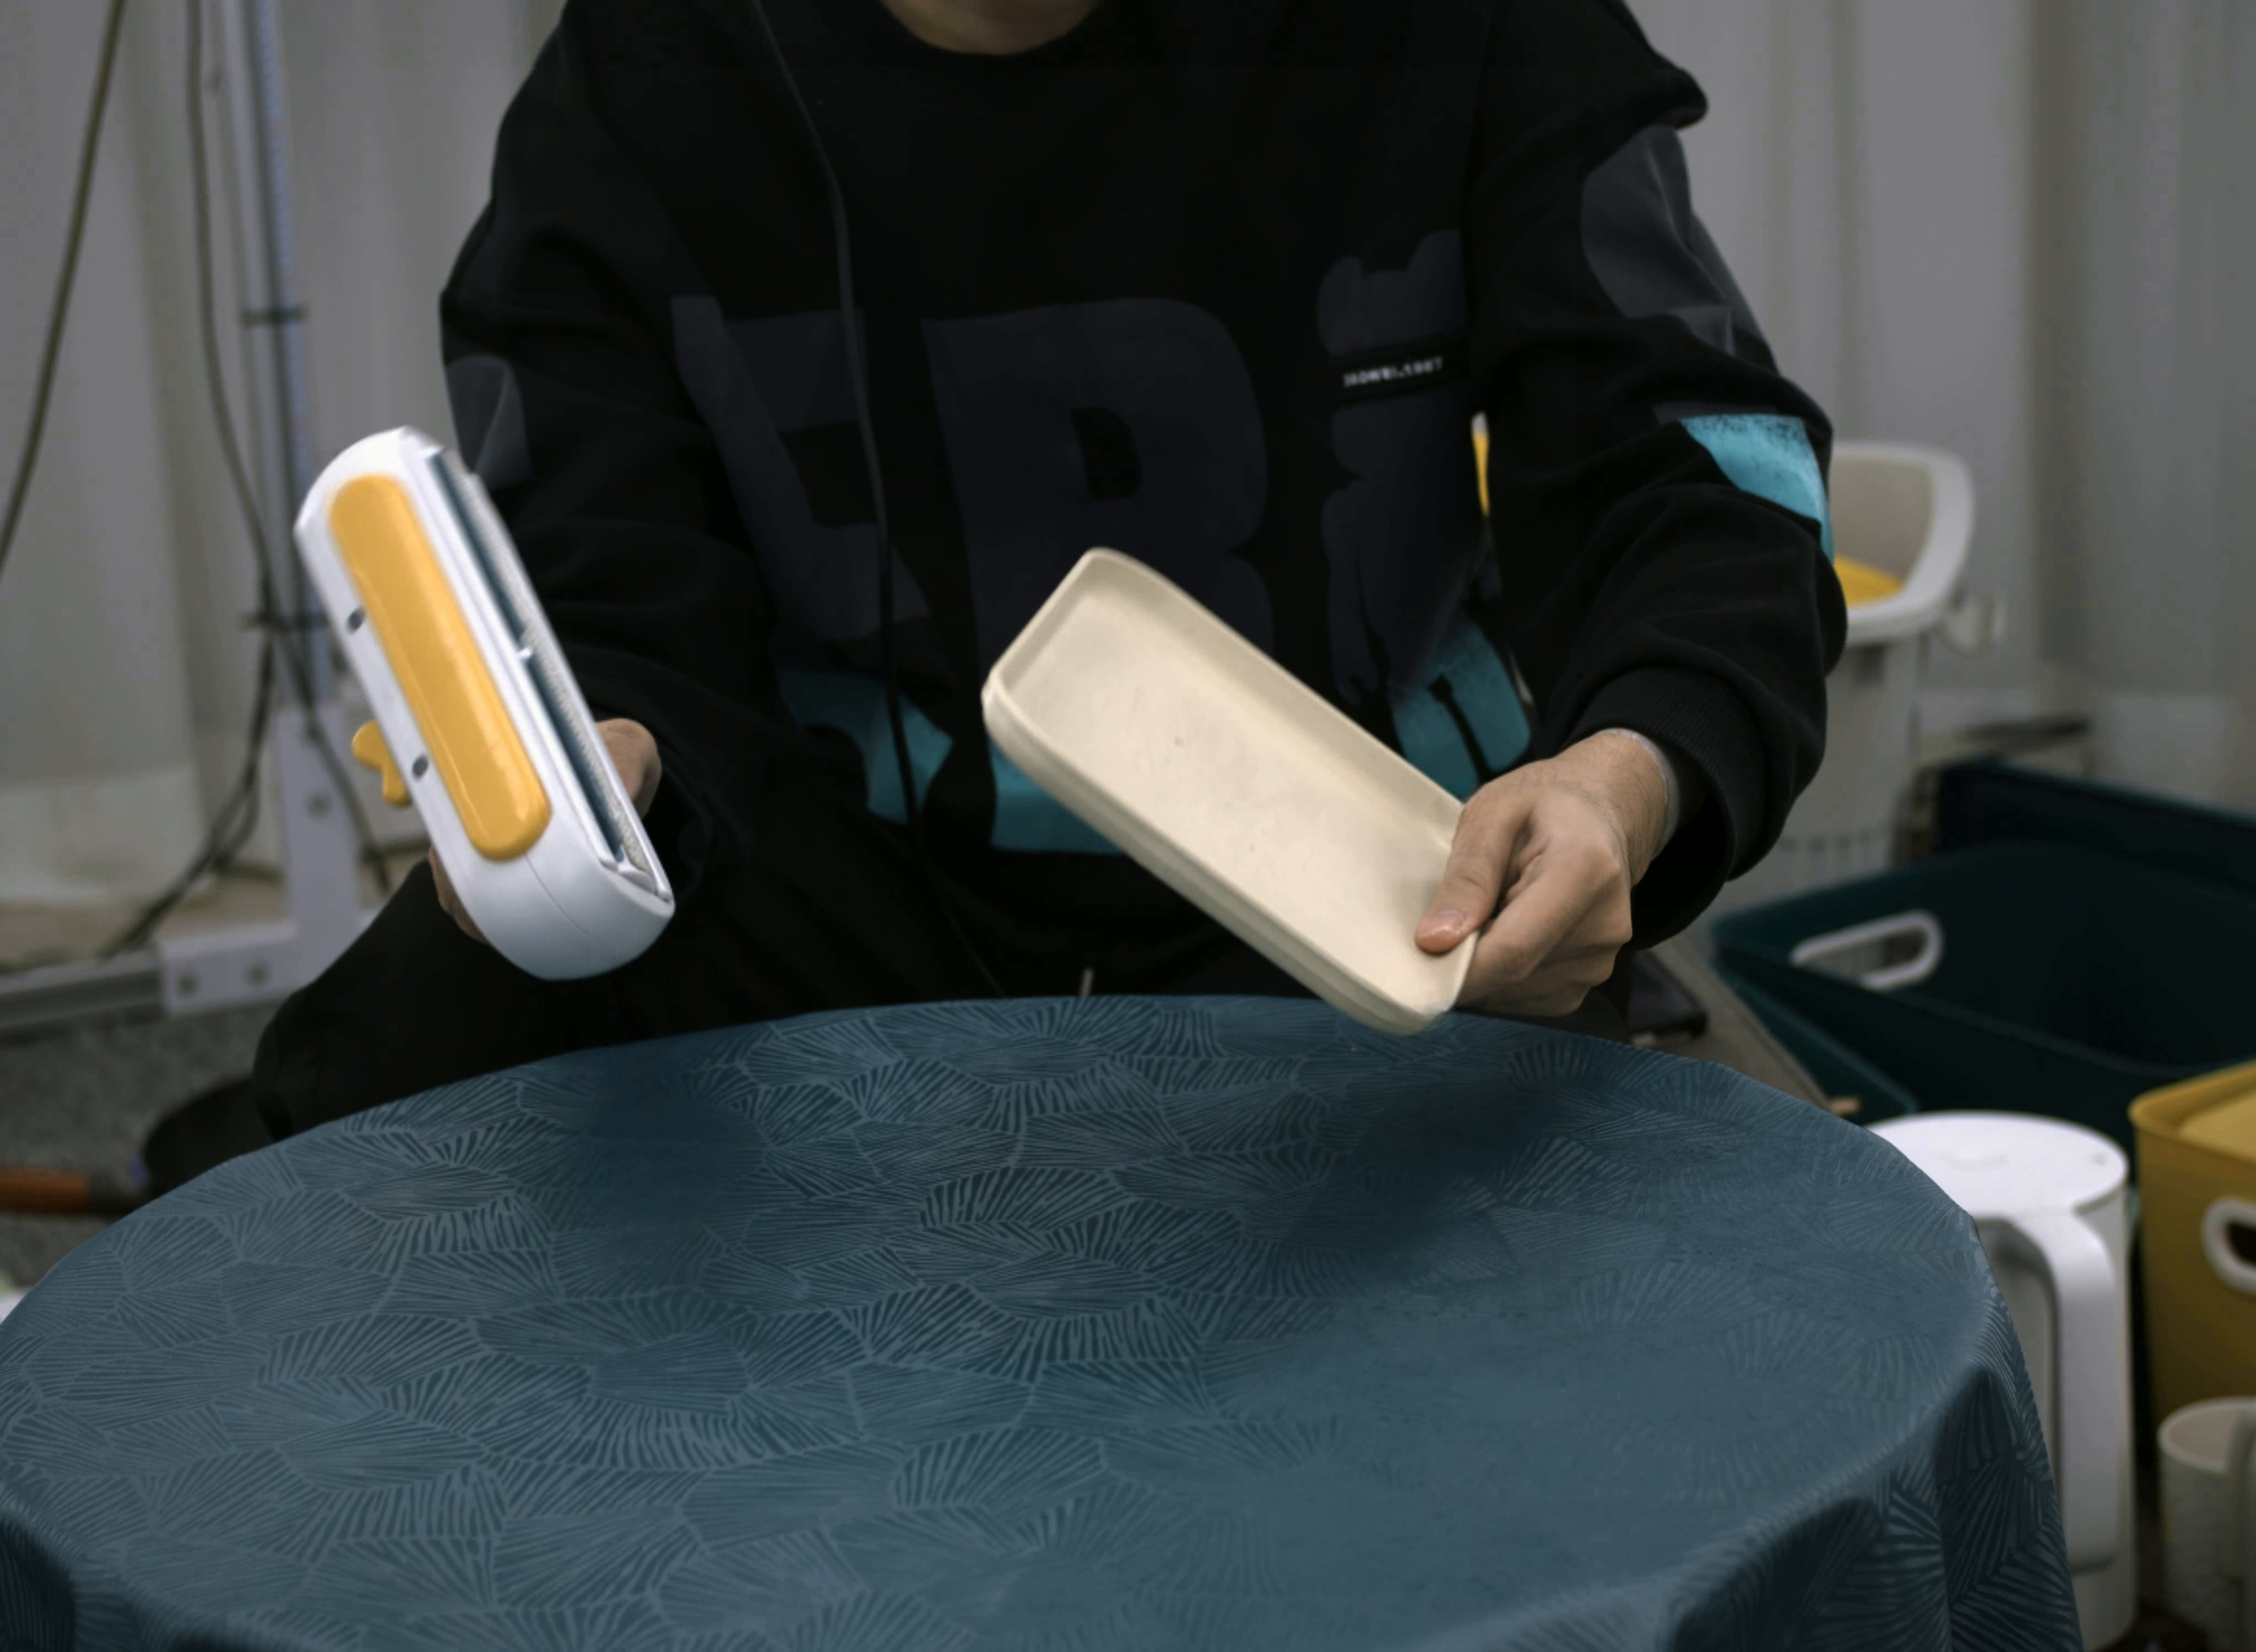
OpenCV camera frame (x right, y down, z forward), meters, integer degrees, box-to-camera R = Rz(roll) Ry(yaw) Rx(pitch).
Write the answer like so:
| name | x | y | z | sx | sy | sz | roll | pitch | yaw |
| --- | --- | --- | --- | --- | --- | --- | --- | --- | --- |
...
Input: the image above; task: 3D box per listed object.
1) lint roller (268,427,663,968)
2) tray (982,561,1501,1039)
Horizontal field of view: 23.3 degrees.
| name | x | y | z | sx | sy | sz | roll | pitch | yaw |
| --- | --- | --- | --- | --- | --- | --- | --- | --- | --- |
| lint roller | -0.188 | -0.014 | 1.726 | 0.074 | 0.190 | 0.195 | -37 | 58 | 3 |
| tray | 0.037 | -0.009 | 1.690 | 0.171 | 0.017 | 0.241 | 35 | 16 | -1 |
